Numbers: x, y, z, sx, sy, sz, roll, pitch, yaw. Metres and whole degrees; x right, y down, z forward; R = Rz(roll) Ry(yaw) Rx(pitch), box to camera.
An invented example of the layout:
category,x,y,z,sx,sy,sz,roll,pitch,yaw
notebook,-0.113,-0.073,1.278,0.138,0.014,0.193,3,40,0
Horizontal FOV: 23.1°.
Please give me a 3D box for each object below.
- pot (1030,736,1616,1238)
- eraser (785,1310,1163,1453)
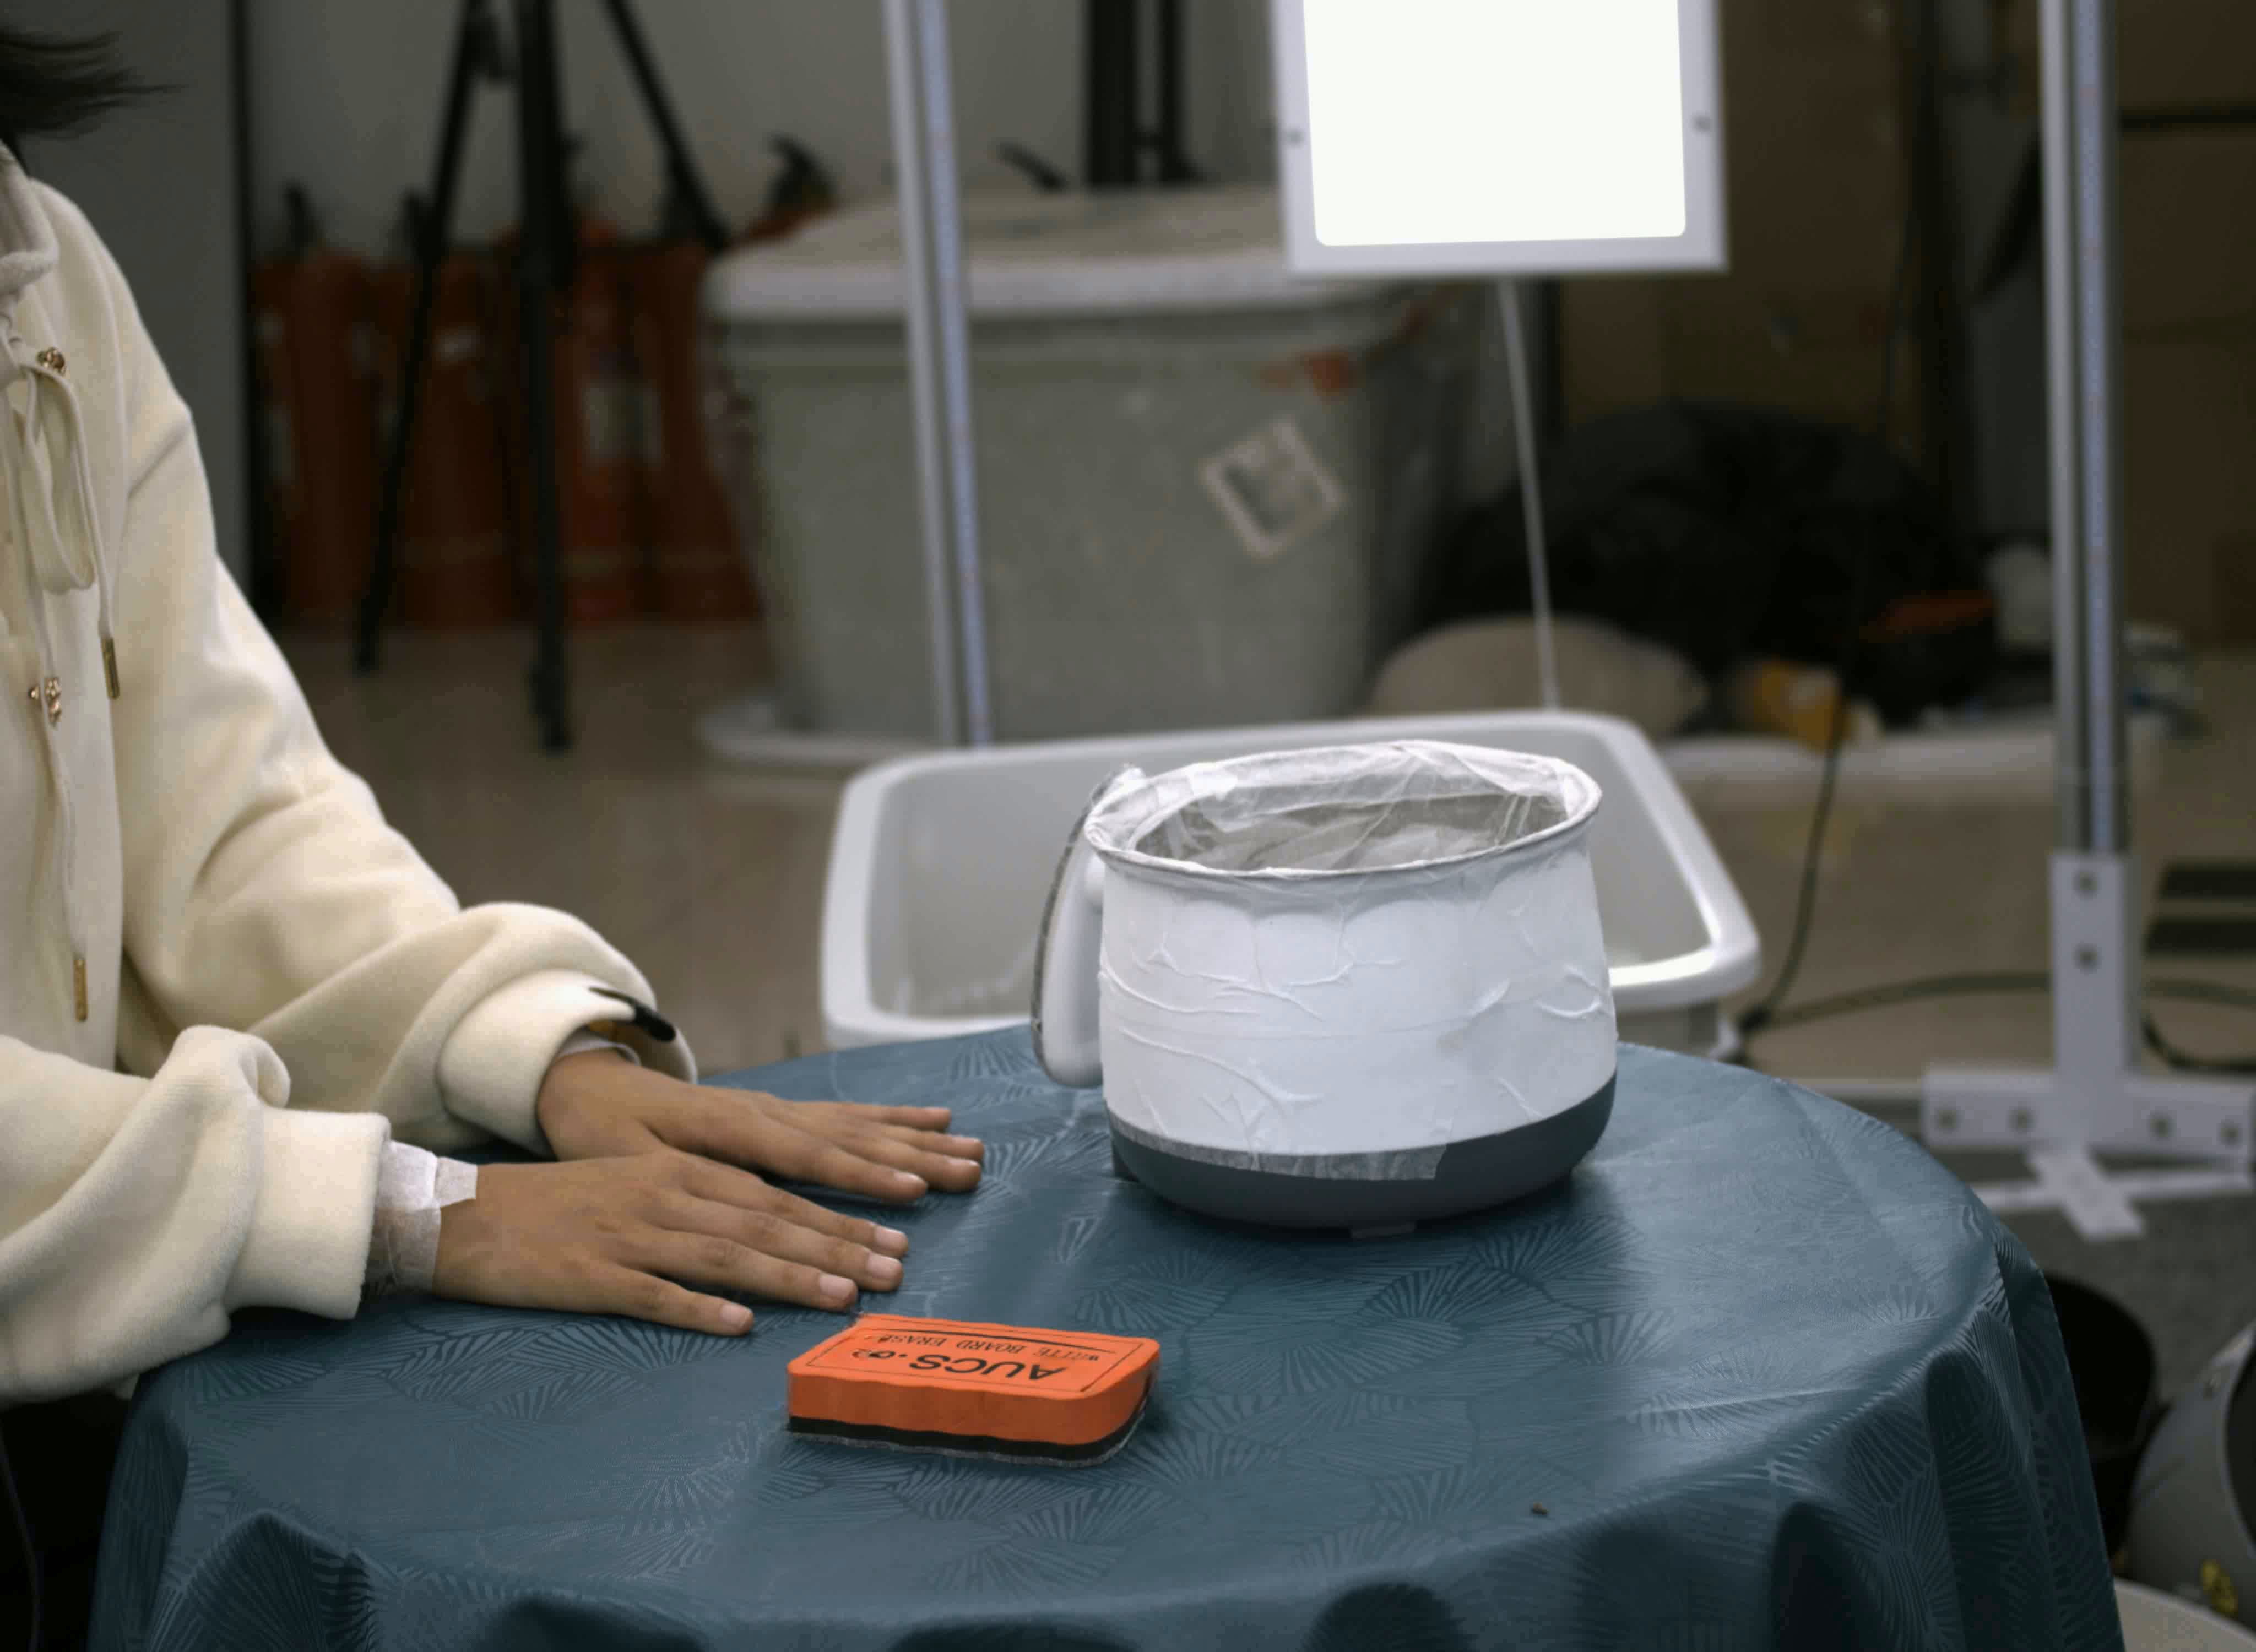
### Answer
category,x,y,z,sx,sy,sz,roll,pitch,yaw
pot,0.057,0.050,1.895,0.239,0.137,0.174,9,20,41
eraser,-0.047,0.169,1.680,0.110,0.023,0.058,0,14,29
